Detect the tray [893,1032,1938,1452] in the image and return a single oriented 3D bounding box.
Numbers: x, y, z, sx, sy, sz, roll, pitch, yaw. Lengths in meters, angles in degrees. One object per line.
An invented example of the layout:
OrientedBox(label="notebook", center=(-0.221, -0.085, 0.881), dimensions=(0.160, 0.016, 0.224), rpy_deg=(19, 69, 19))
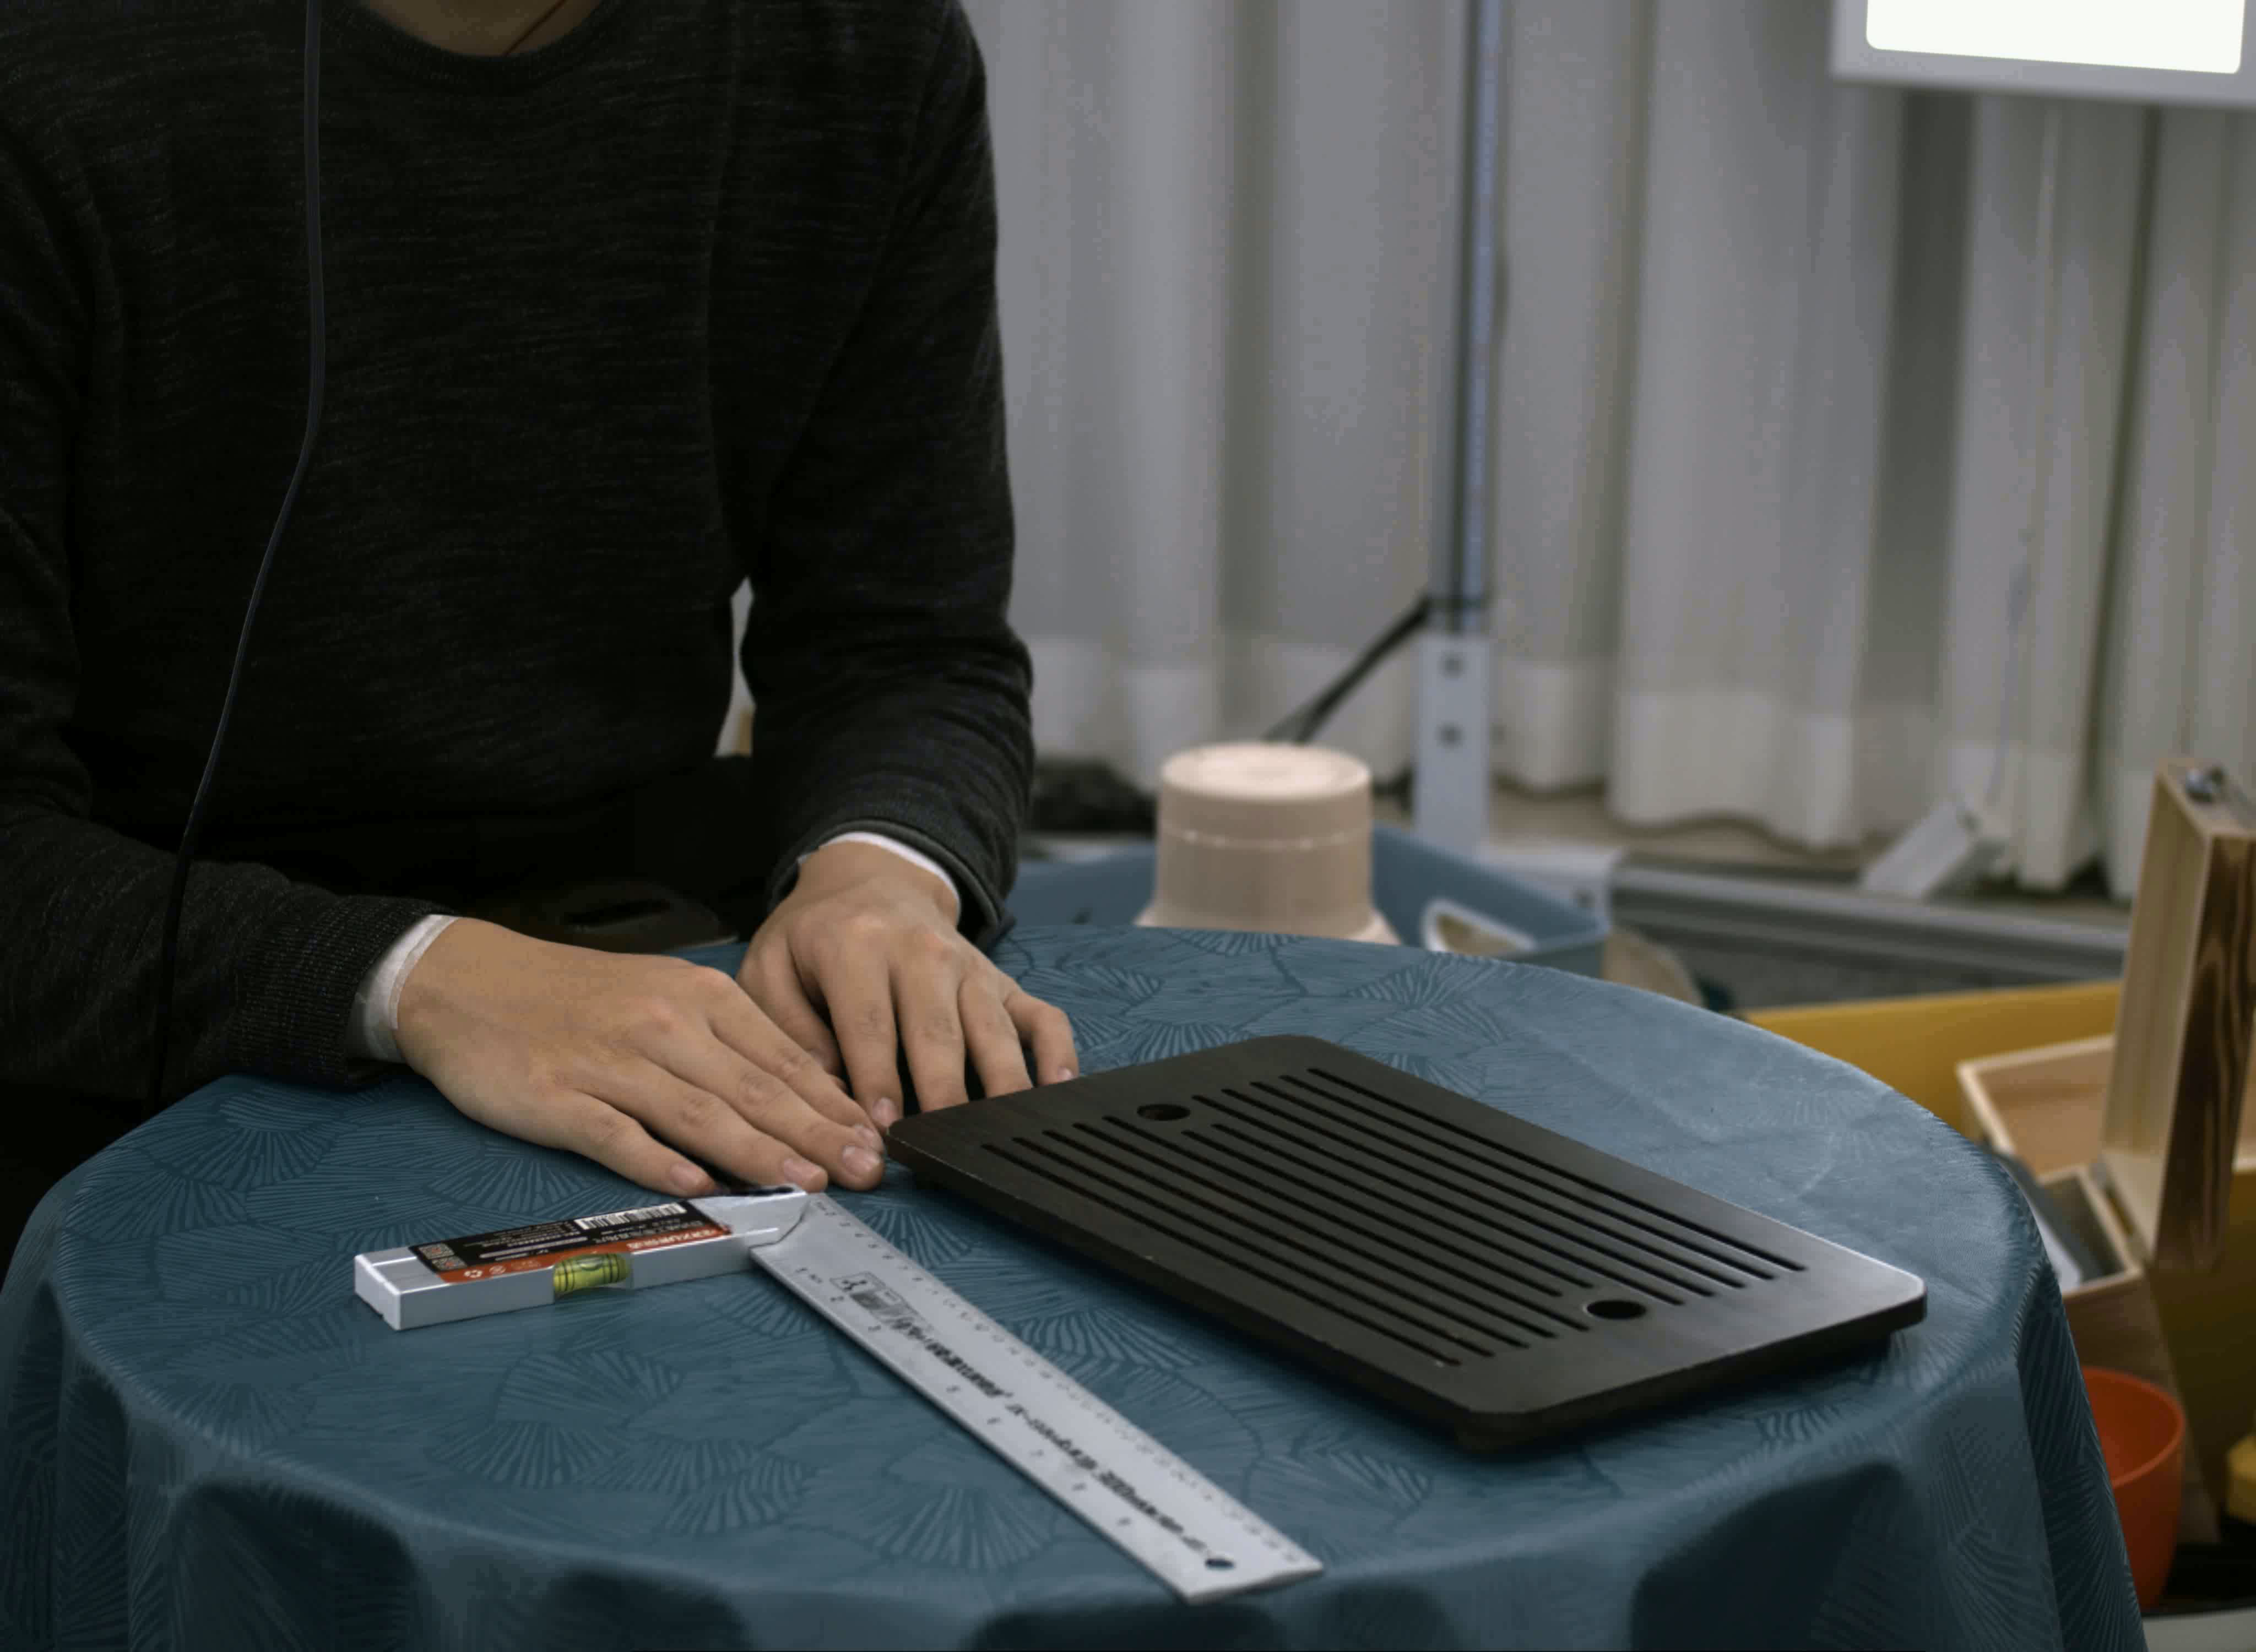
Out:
OrientedBox(label="tray", center=(0.079, 0.119, 1.565), dimensions=(0.171, 0.019, 0.302), rpy_deg=(-11, 19, -35))

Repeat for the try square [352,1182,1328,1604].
OrientedBox(label="try square", center=(-0.087, 0.160, 1.434), dimensions=(0.153, 0.016, 0.309), rpy_deg=(-9, 19, -27))
